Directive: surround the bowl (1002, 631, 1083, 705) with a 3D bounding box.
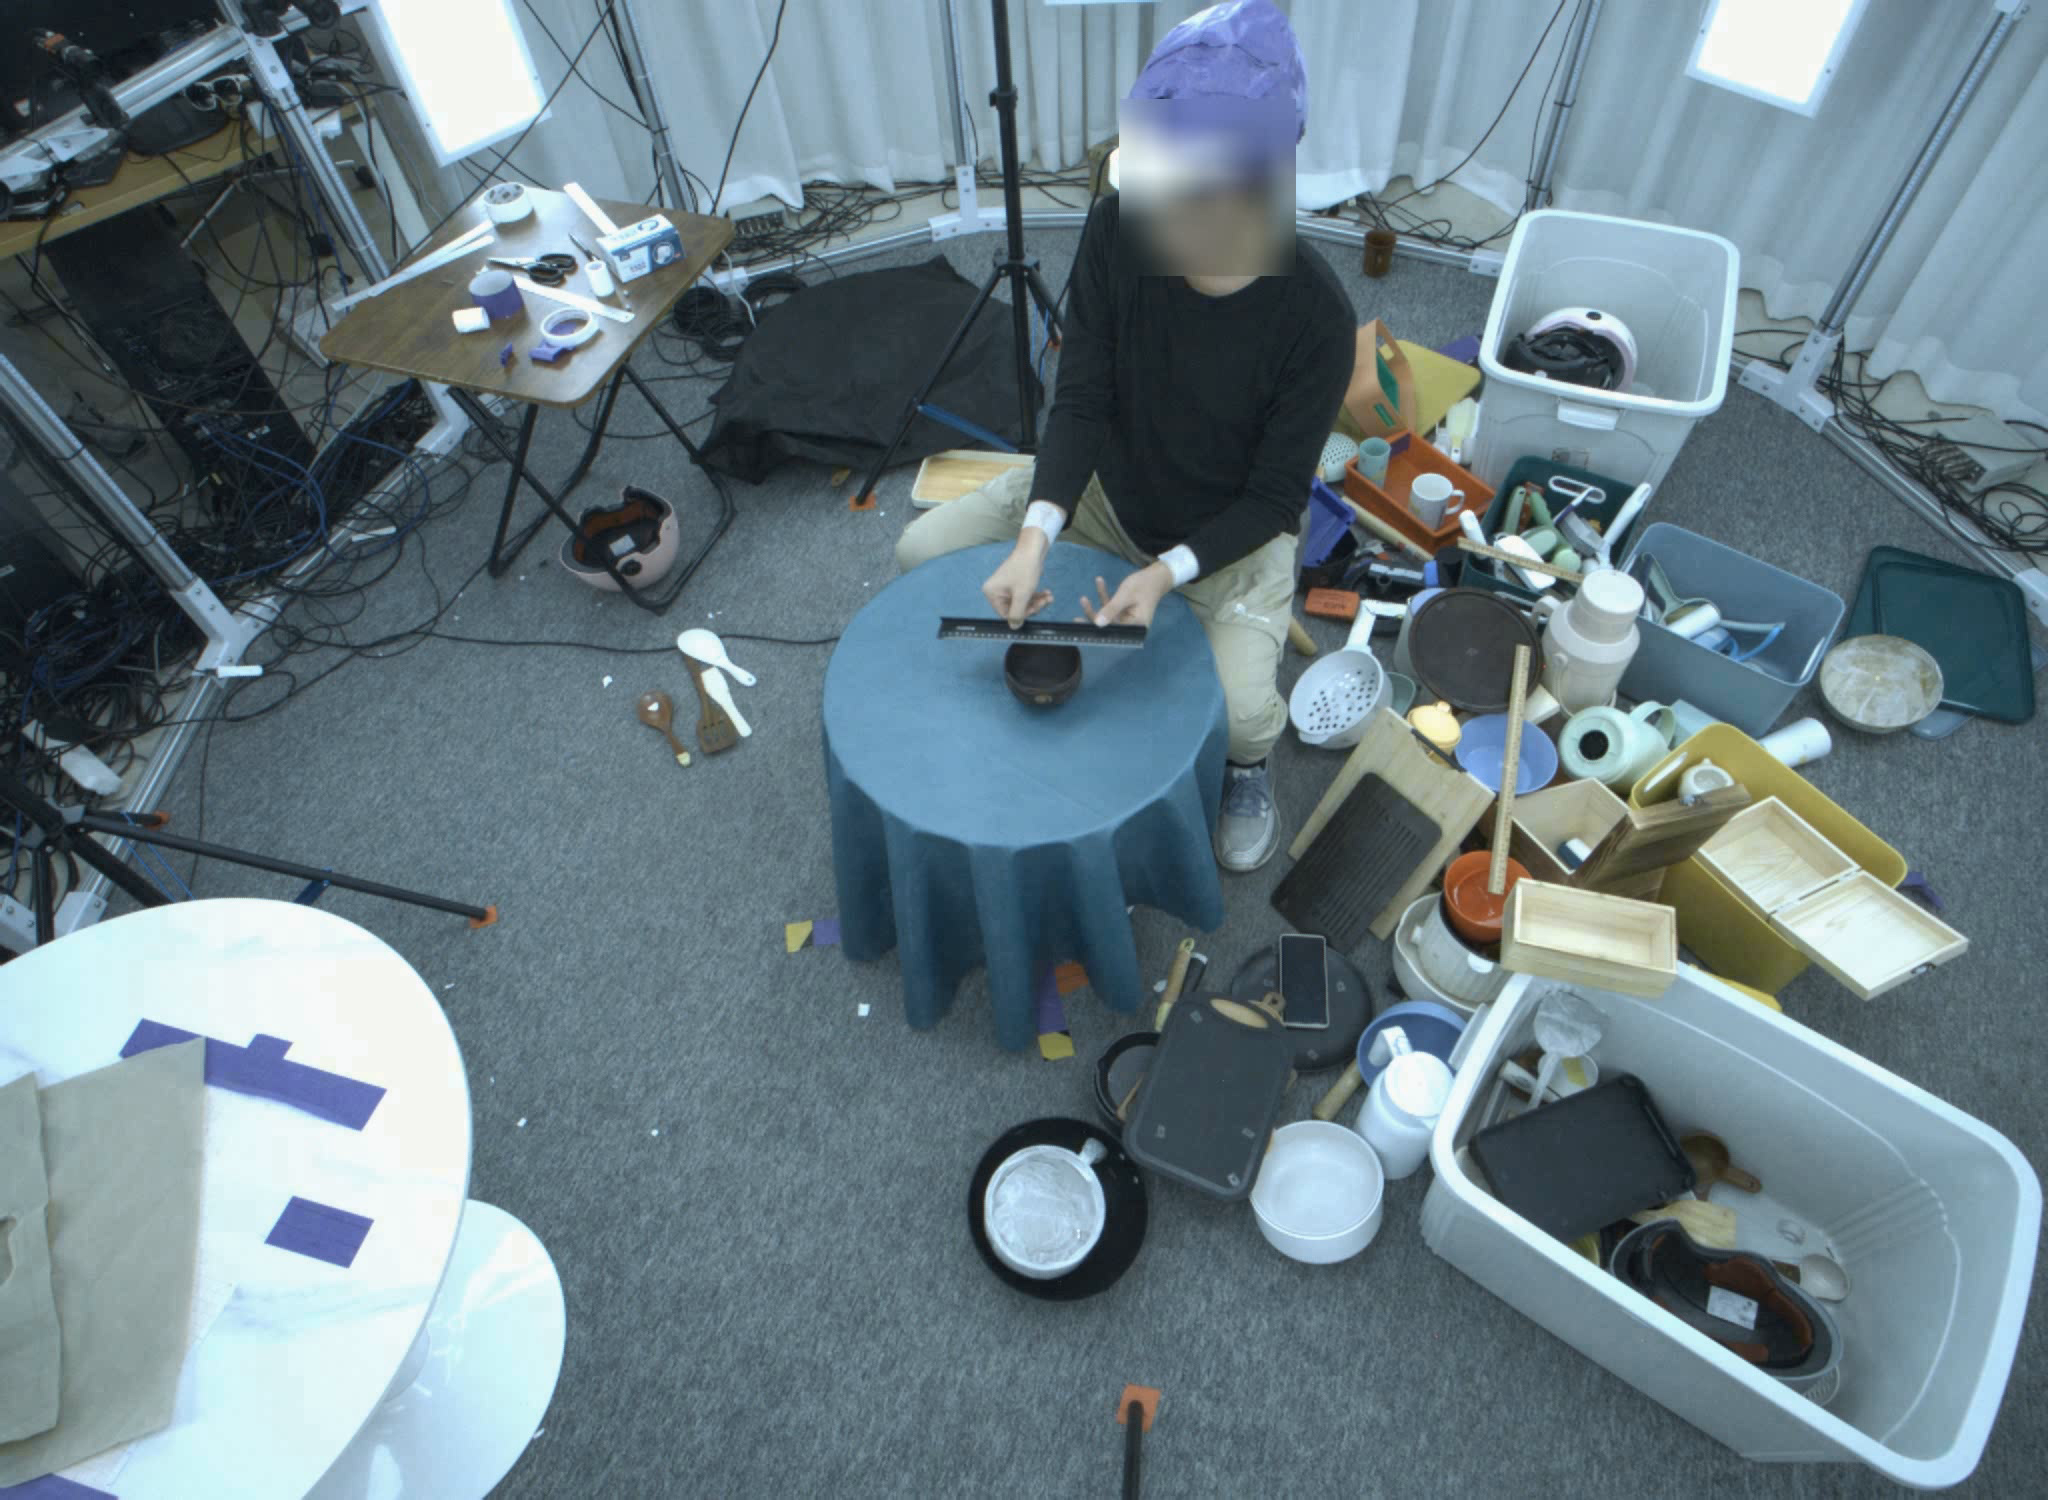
[{"bbox_3d":[0.029,-0.118,1.820,0.118,0.070,0.117,-2,60,4],"label":"bowl"}]

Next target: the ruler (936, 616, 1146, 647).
[{"bbox_3d":[0.021,-0.175,1.792,0.309,0.017,0.039,4,54,13],"label":"ruler"}]
